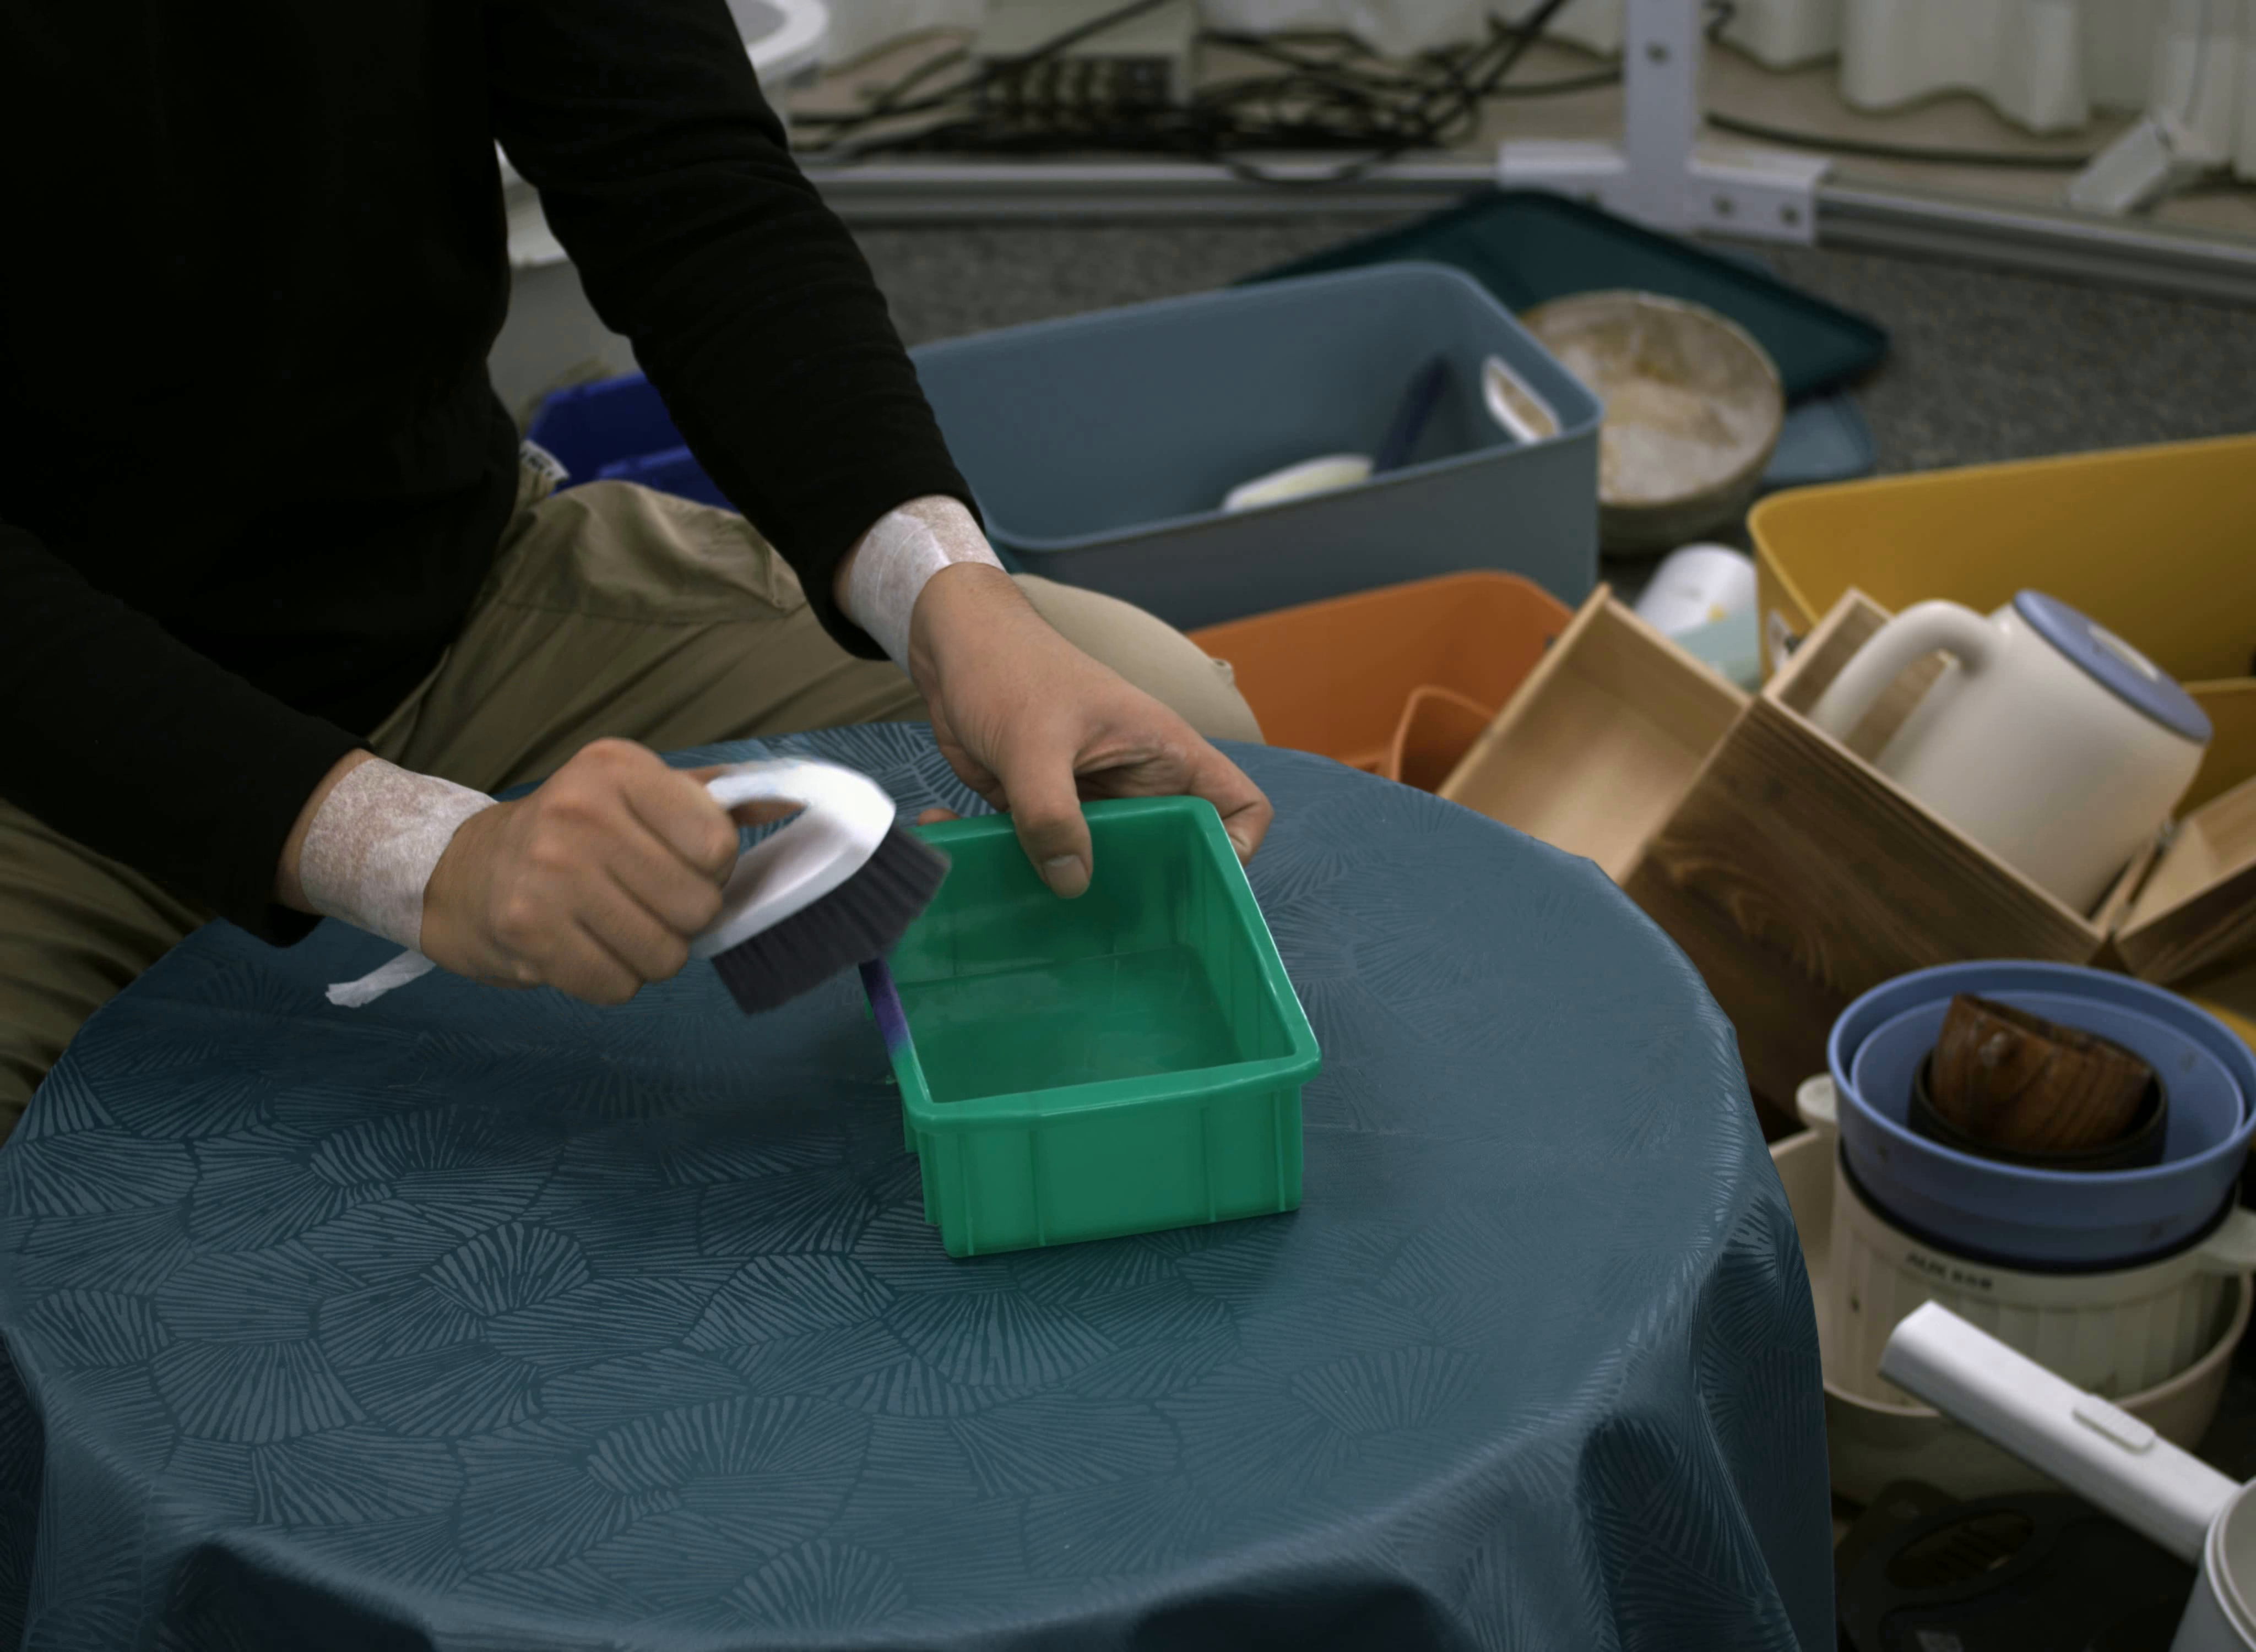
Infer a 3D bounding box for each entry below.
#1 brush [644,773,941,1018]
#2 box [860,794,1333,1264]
[{"bbox_3d":[-0.119,0.017,1.868,0.097,0.072,0.051,-26,26,43],"label":"brush"},{"bbox_3d":[-0.016,0.069,1.898,0.138,0.064,0.213,-10,29,-9],"label":"box"}]
